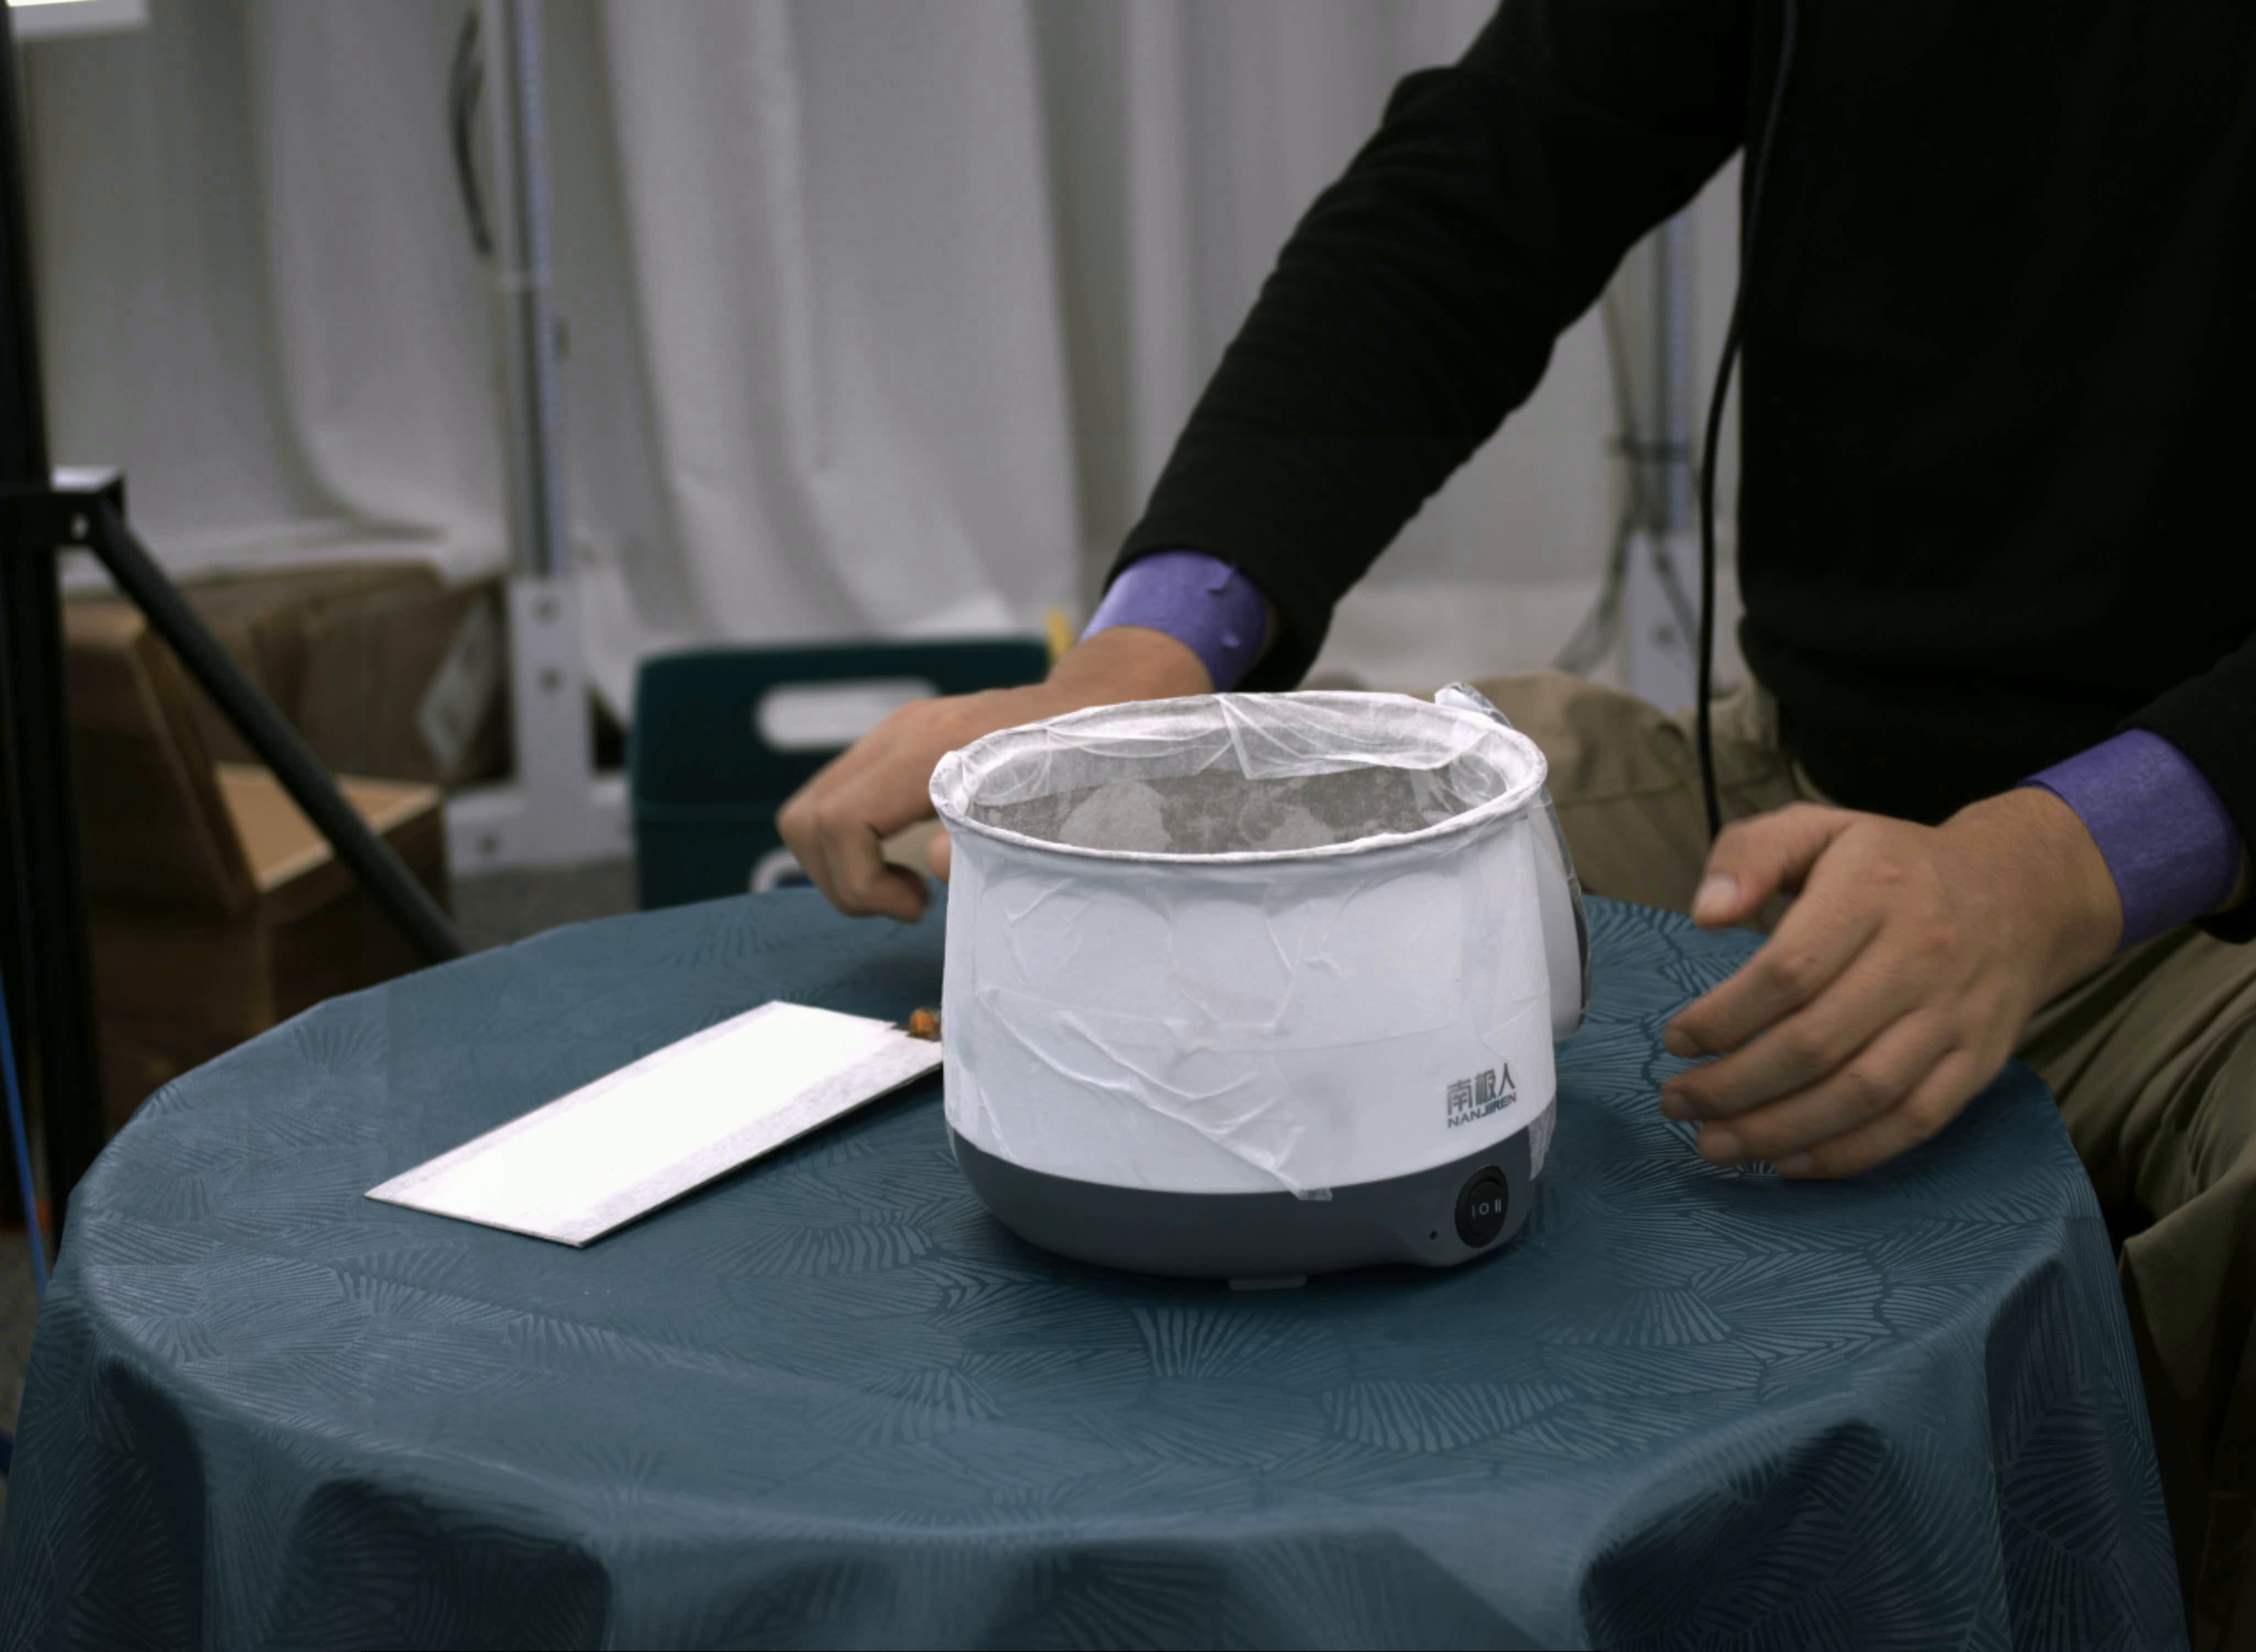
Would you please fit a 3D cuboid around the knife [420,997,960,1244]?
[{"bbox_3d":[-0.100,0.074,1.667,0.095,0.021,0.299,11,22,36],"label":"knife"}]

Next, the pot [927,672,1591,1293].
[{"bbox_3d":[0.052,0.037,1.539,0.183,0.136,0.228,12,22,41],"label":"pot"}]
